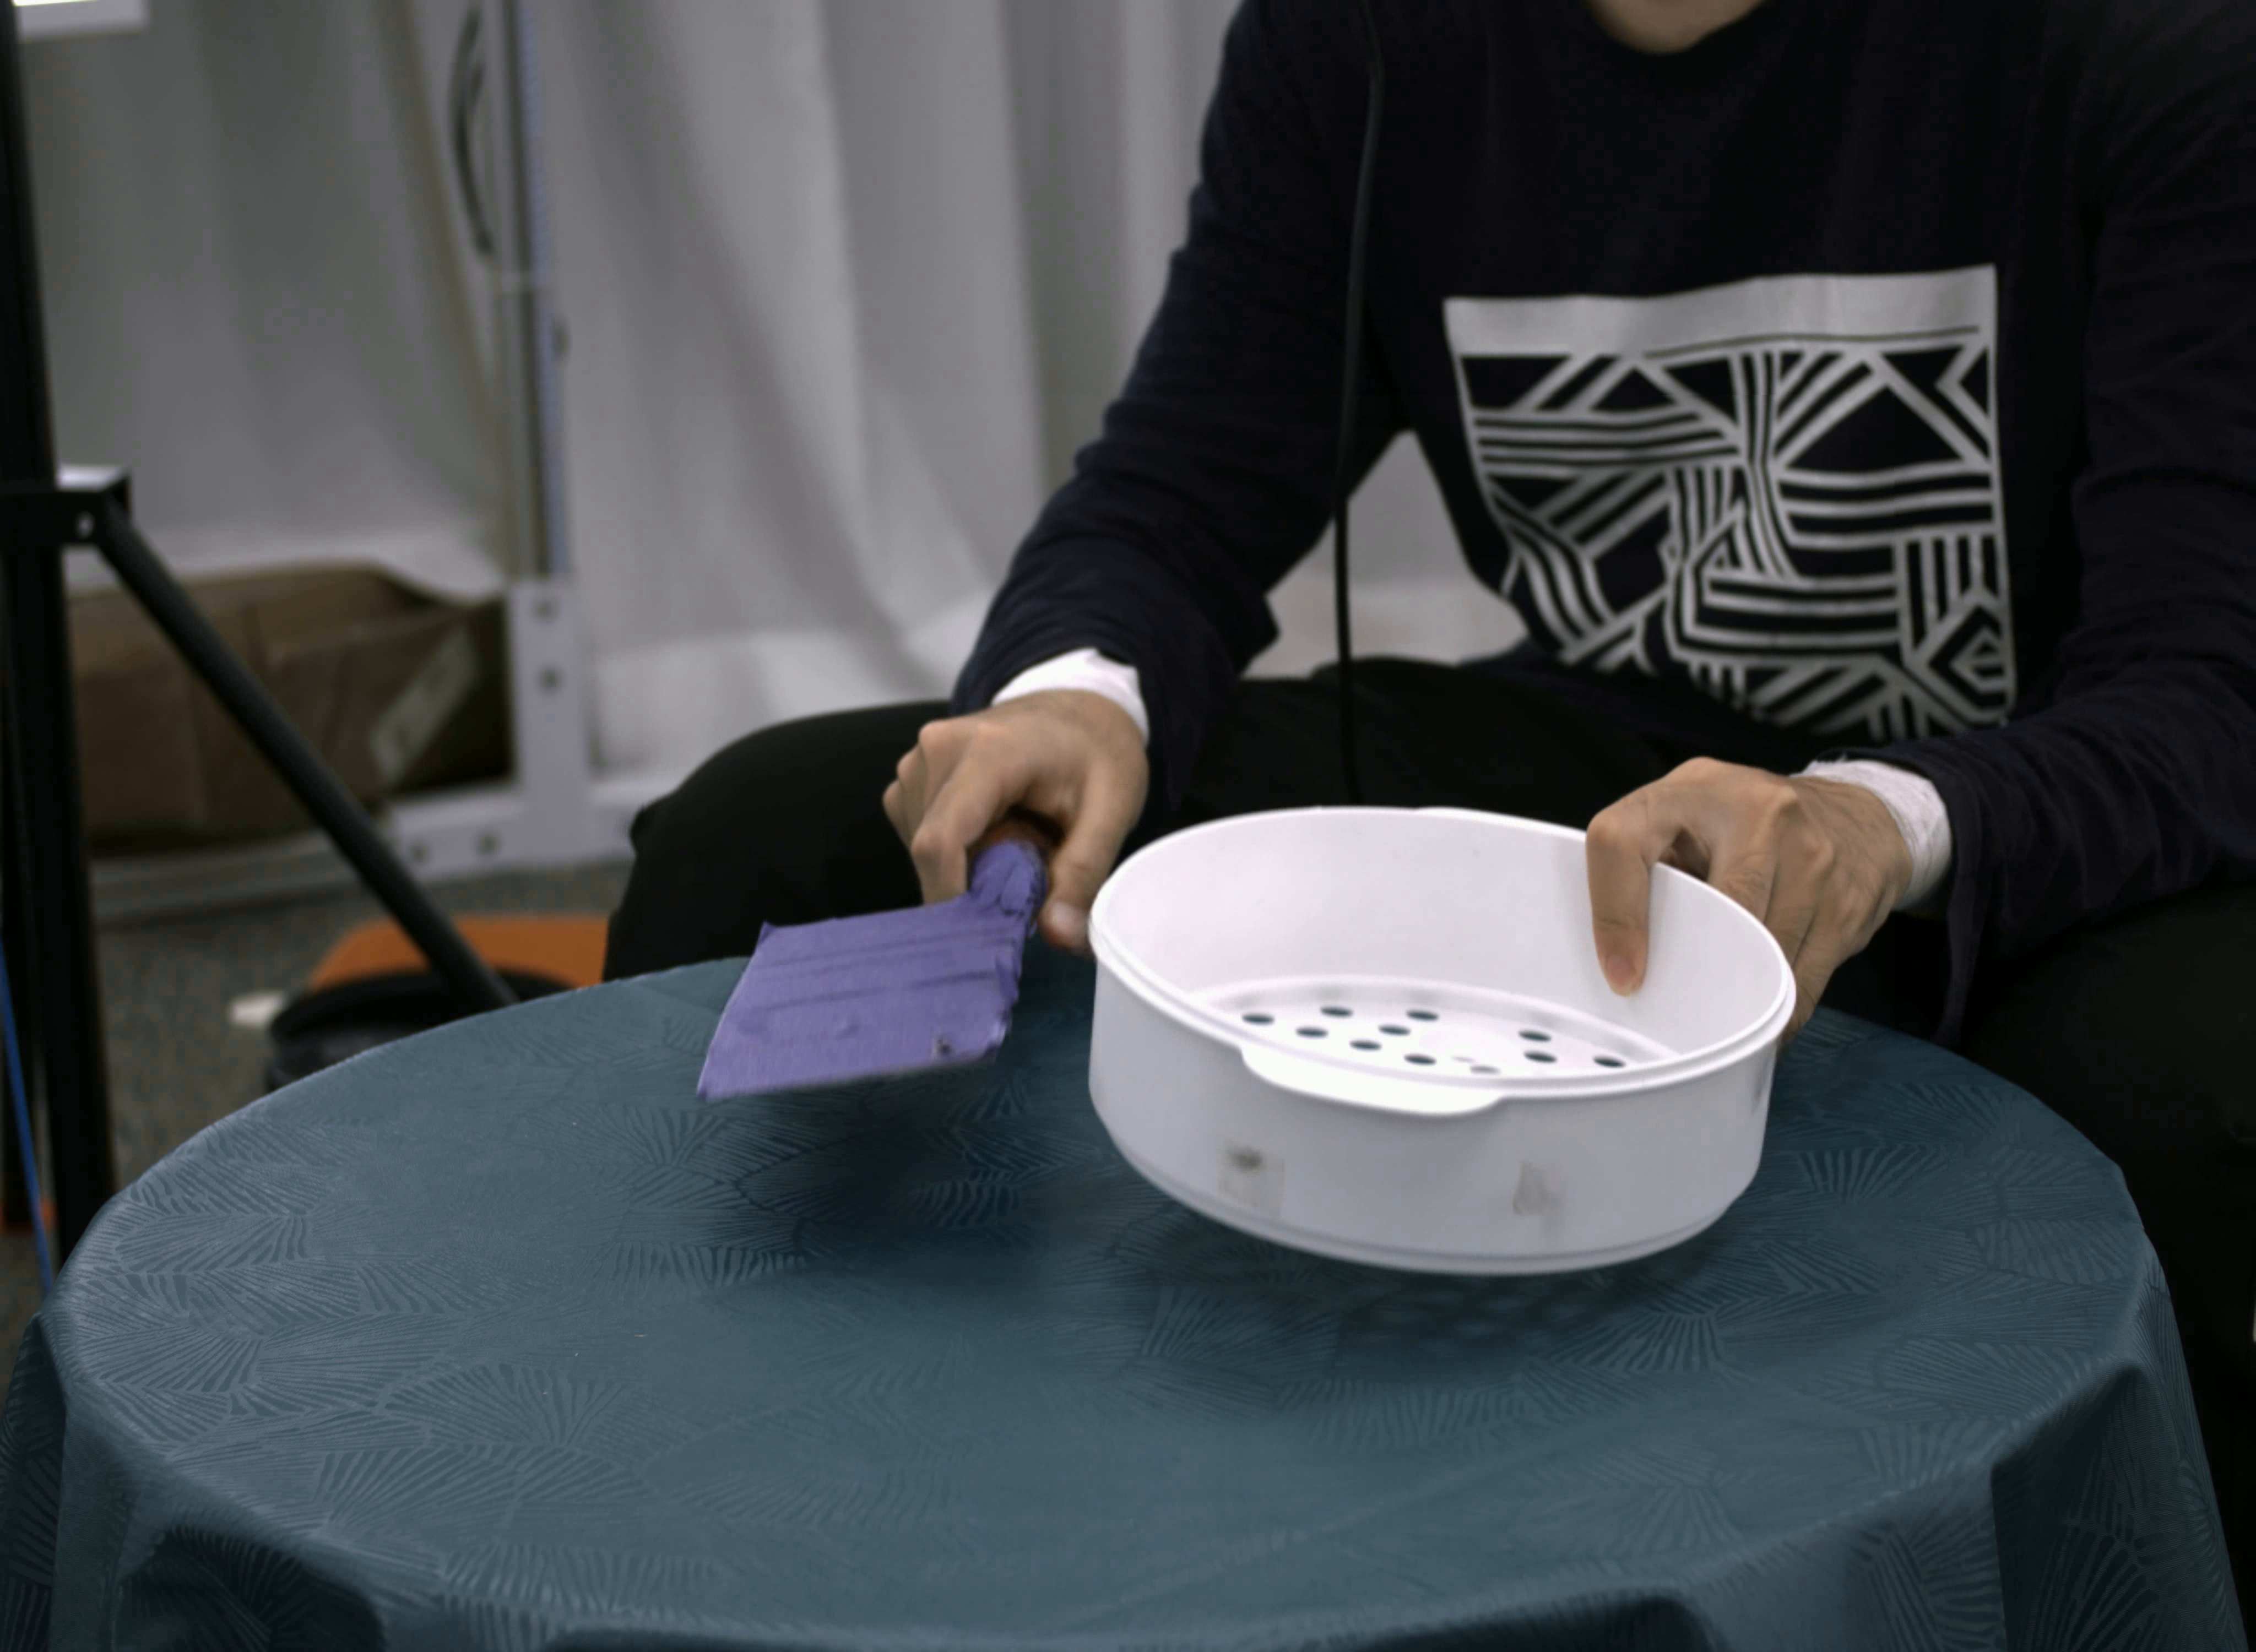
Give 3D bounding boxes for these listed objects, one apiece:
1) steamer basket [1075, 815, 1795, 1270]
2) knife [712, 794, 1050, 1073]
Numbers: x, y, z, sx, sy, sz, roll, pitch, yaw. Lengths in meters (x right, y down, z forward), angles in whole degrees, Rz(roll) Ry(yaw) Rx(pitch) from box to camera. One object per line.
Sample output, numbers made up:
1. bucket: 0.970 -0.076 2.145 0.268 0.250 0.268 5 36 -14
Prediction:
1. steamer basket: 0.085 0.061 1.504 0.203 0.069 0.228 12 19 13
2. knife: -0.074 0.031 1.659 0.103 0.032 0.315 -8 8 2
